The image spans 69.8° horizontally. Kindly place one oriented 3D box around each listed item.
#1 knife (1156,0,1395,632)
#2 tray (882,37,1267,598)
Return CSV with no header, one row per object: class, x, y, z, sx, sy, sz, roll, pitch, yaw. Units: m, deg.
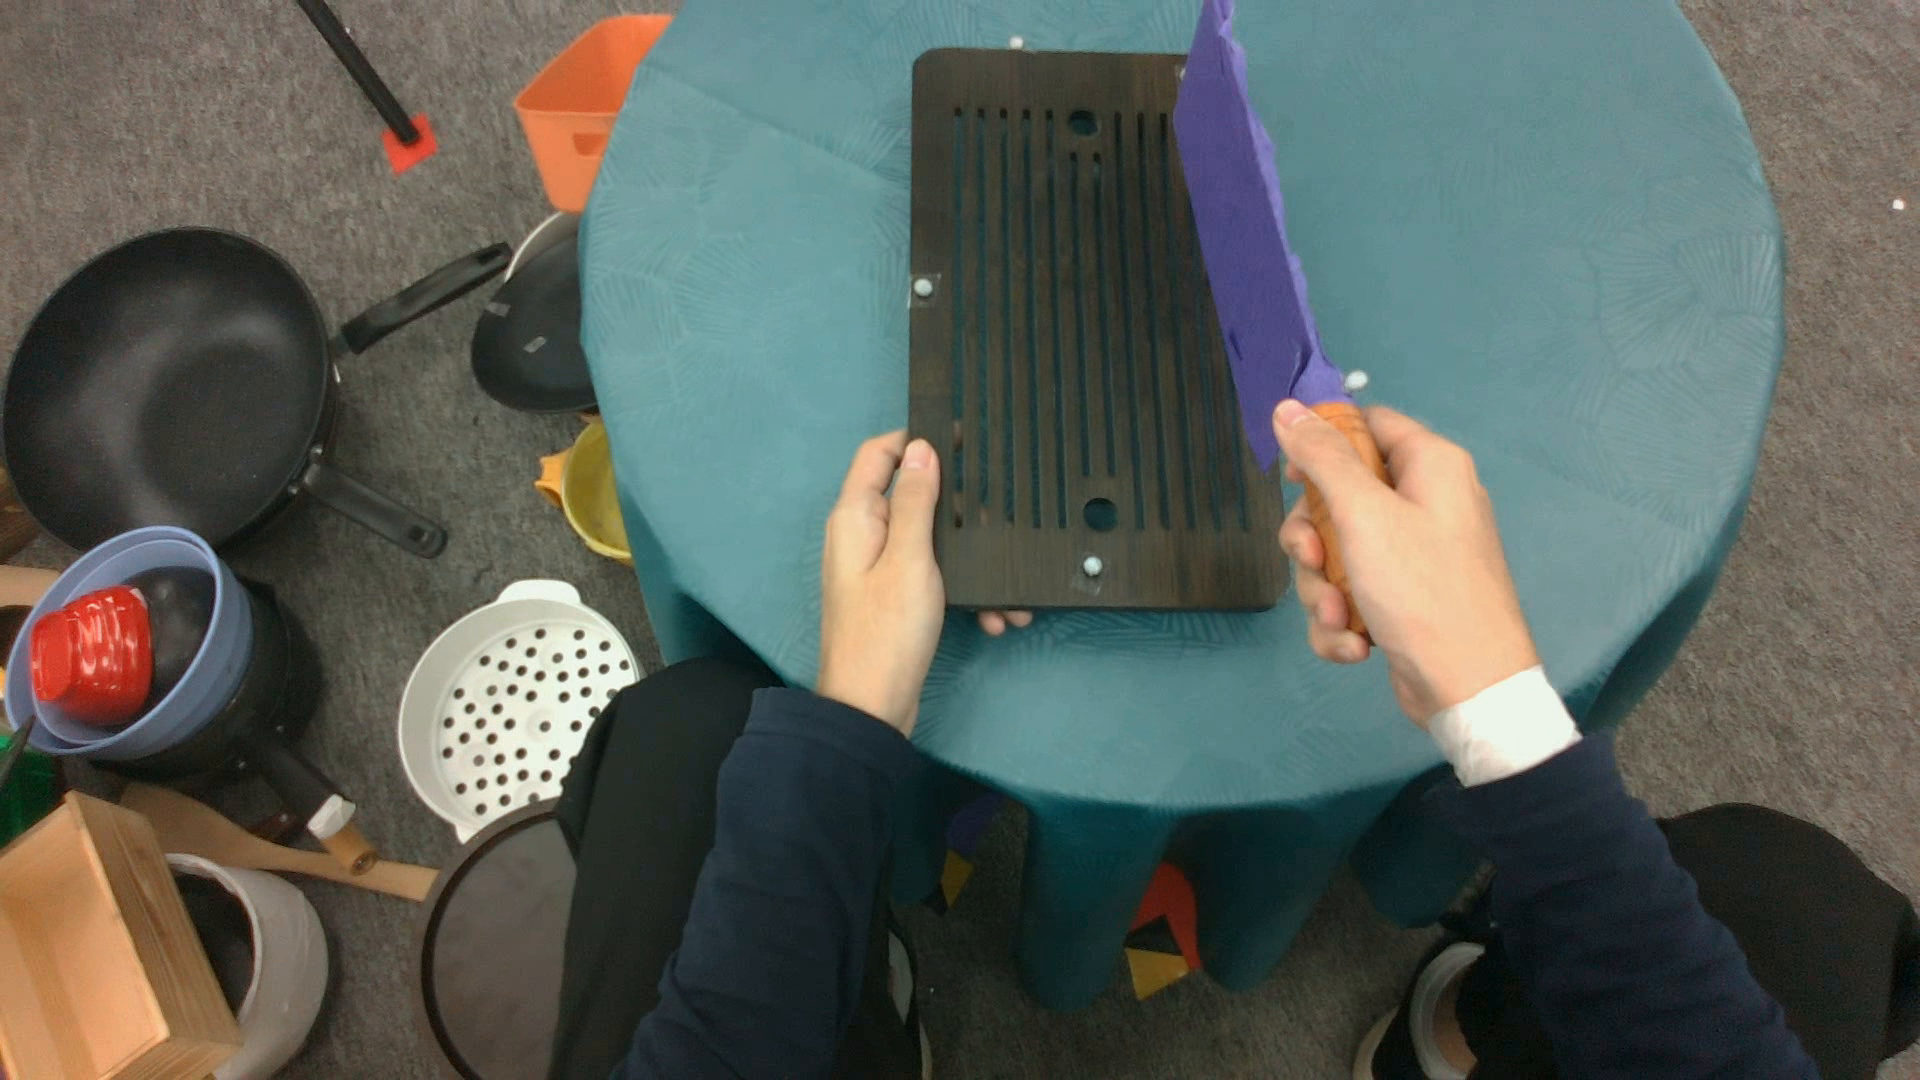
knife,0.125,-0.101,0.588,0.032,0.103,0.316,-4,66,-5
tray,0.047,-0.115,0.659,0.170,0.018,0.307,0,67,-4
